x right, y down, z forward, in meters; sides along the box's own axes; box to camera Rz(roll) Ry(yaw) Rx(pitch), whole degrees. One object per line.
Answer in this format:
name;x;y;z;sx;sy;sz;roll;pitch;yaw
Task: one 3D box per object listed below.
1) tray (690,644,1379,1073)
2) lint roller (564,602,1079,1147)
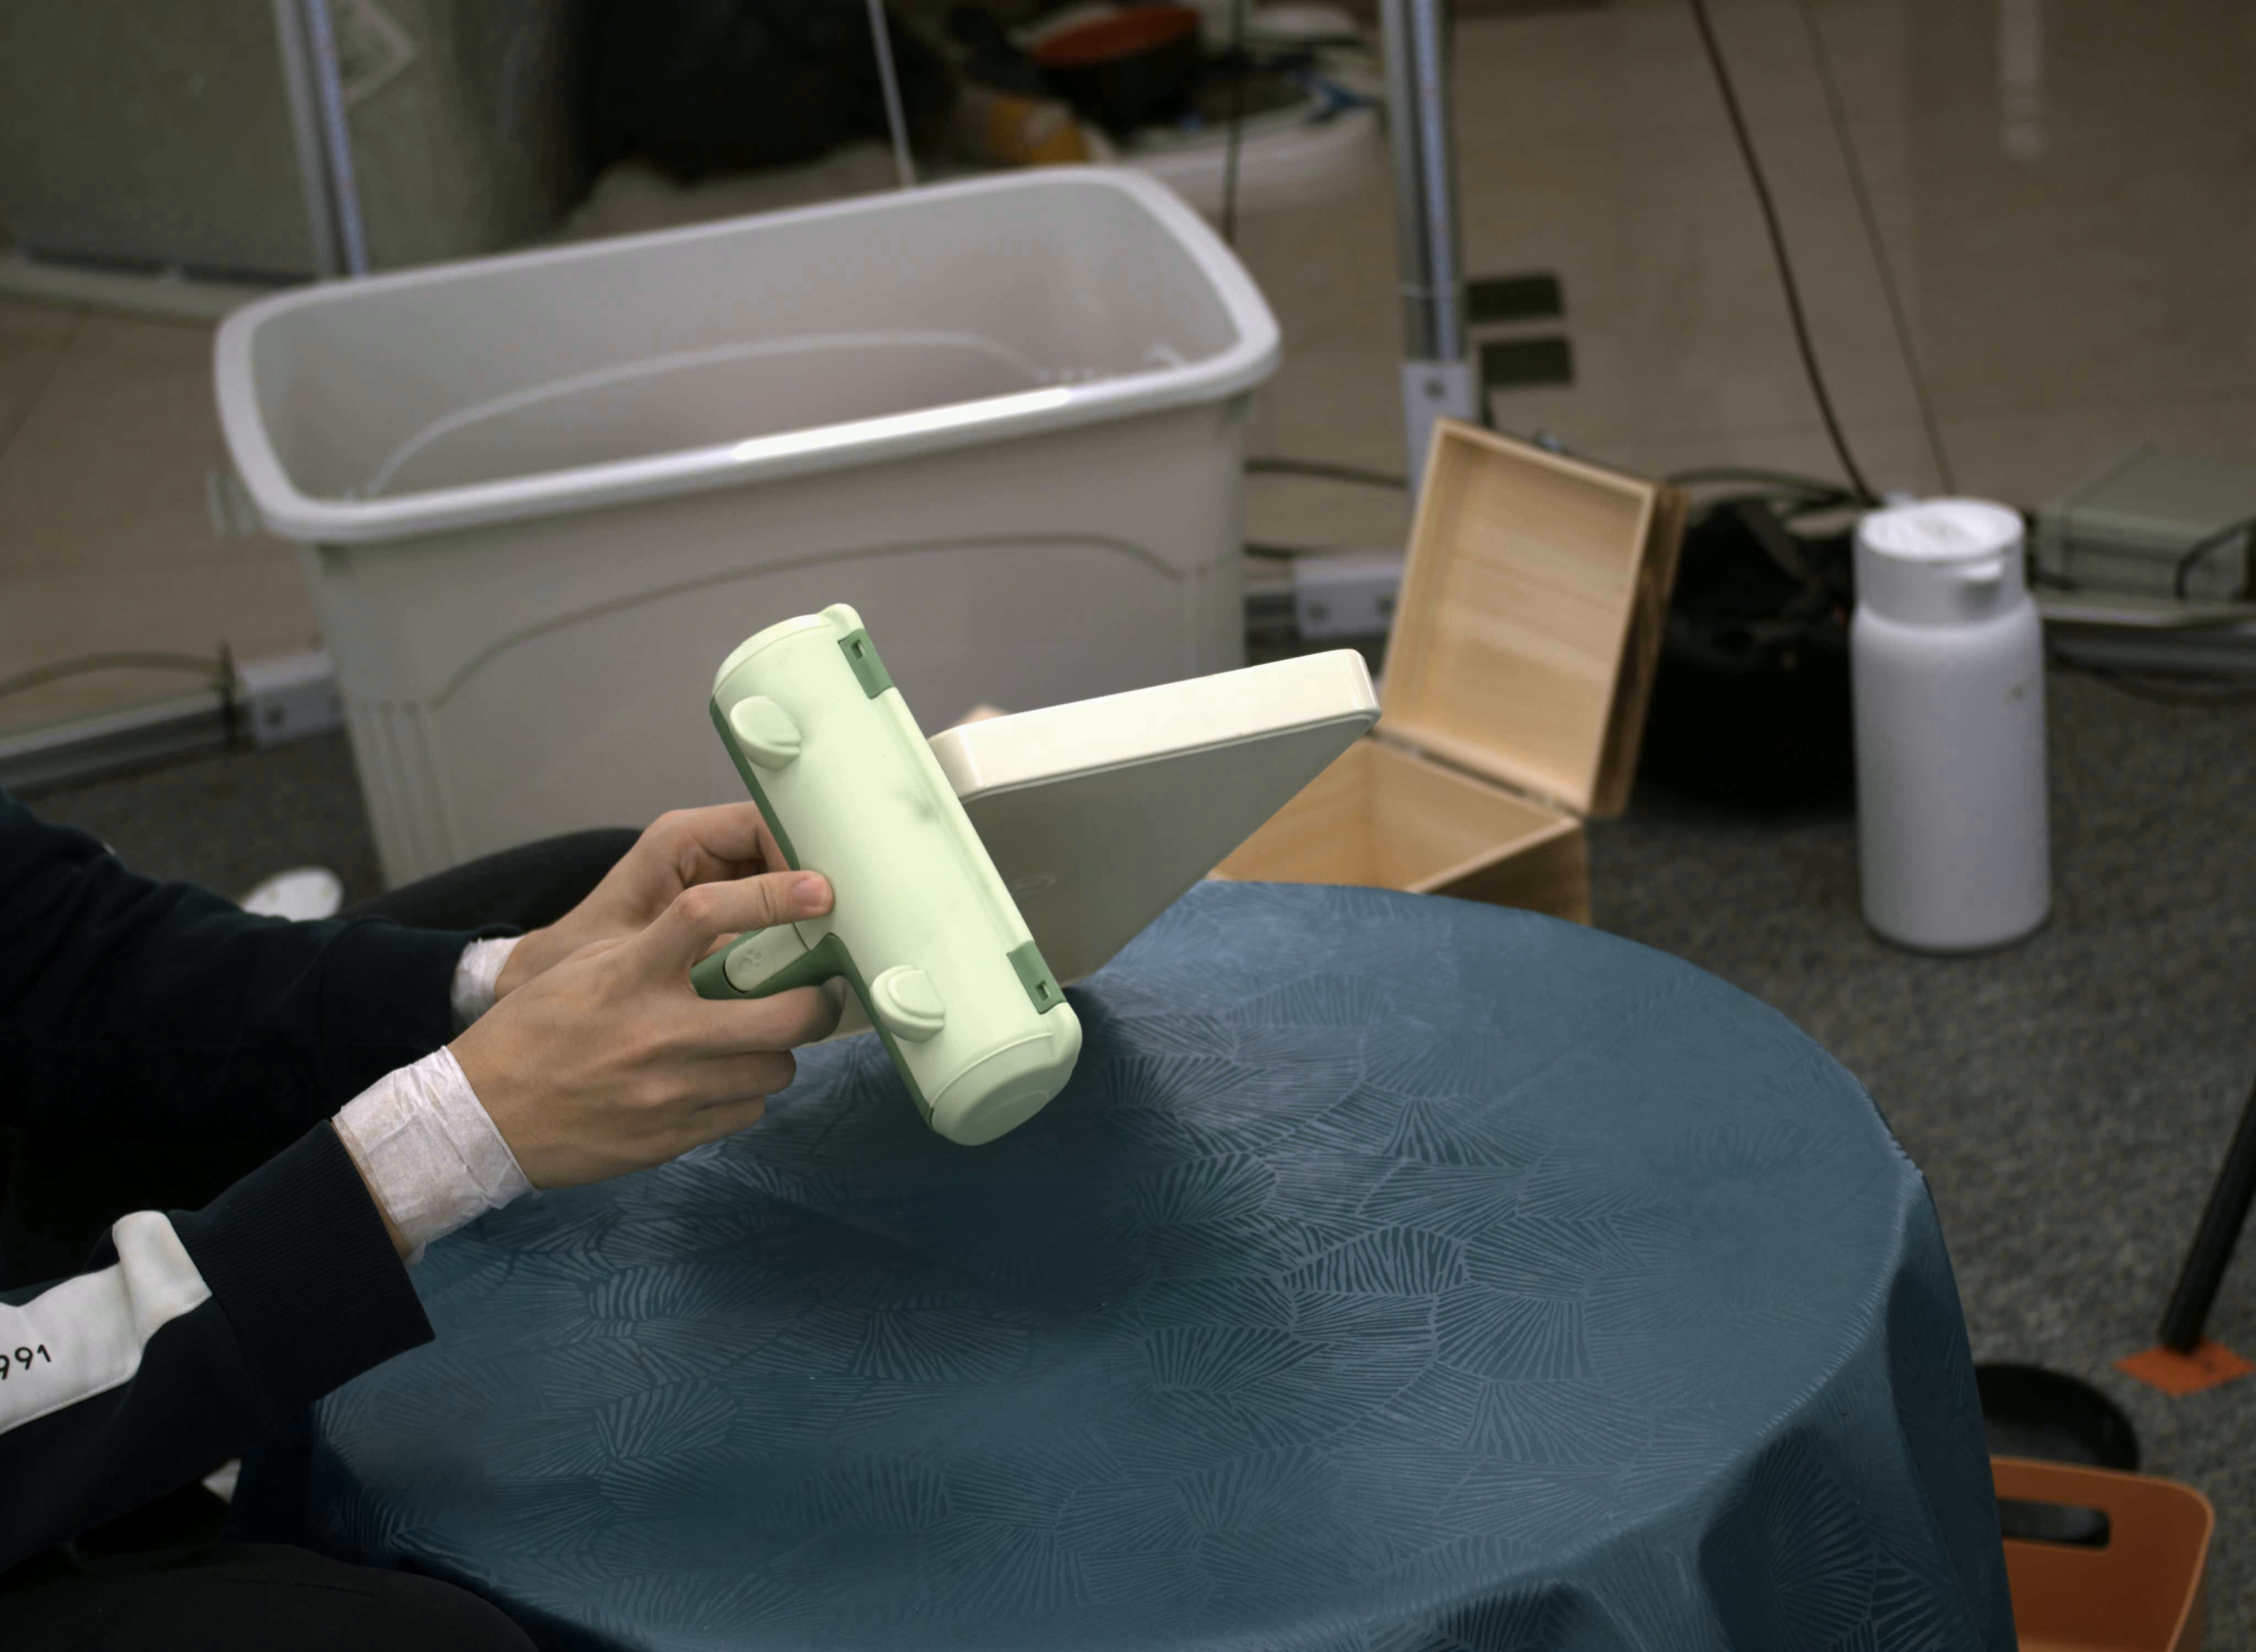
tray;-0.044;0.016;2.145;0.191;0.027;0.303;-13;-16;-28
lint roller;-0.132;0.045;1.959;0.184;0.083;0.196;-33;68;10
